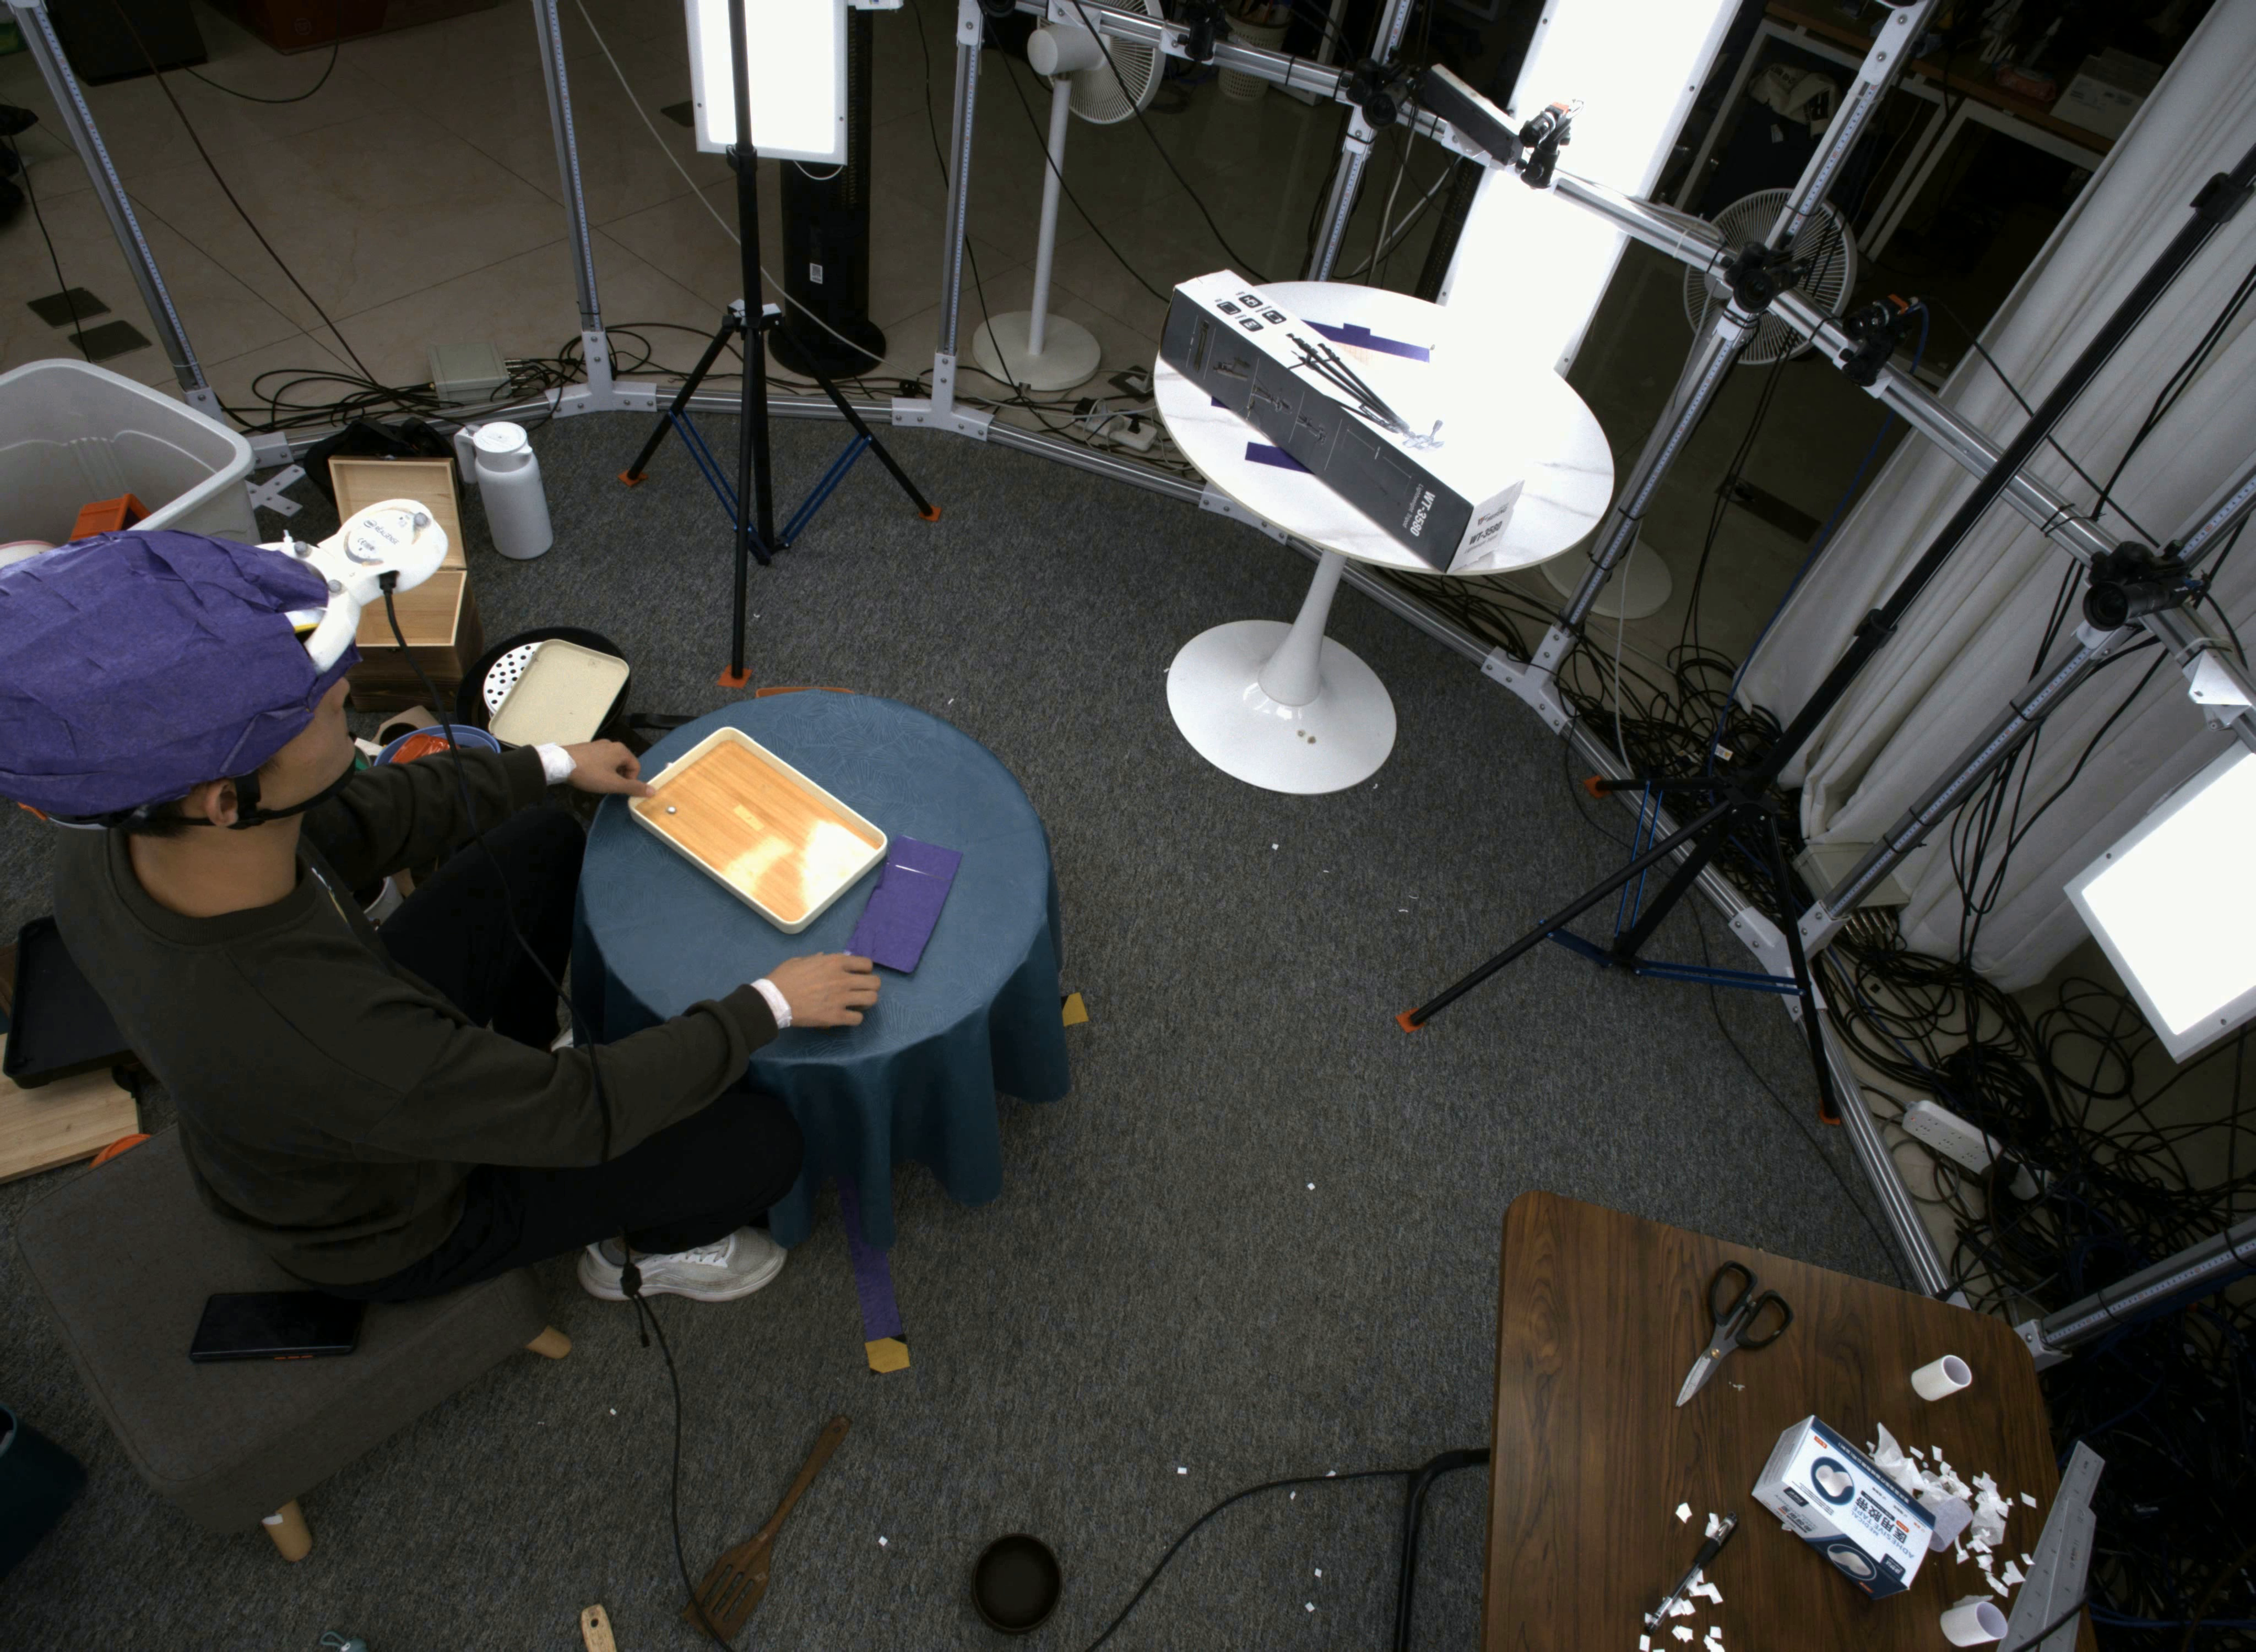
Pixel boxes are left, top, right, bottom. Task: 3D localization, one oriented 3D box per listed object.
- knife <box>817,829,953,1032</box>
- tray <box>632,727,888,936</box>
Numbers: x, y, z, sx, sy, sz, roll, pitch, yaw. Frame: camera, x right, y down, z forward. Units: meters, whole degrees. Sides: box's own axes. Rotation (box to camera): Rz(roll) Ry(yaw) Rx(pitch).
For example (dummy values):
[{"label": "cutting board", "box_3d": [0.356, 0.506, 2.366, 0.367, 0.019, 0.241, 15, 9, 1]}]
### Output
[{"label": "knife", "box_3d": [-0.301, 0.128, 1.653, 0.103, 0.033, 0.311, 16, 51, -1]}, {"label": "tray", "box_3d": [-0.485, 0.000, 1.702, 0.295, 0.028, 0.191, 34, 54, 12]}]
